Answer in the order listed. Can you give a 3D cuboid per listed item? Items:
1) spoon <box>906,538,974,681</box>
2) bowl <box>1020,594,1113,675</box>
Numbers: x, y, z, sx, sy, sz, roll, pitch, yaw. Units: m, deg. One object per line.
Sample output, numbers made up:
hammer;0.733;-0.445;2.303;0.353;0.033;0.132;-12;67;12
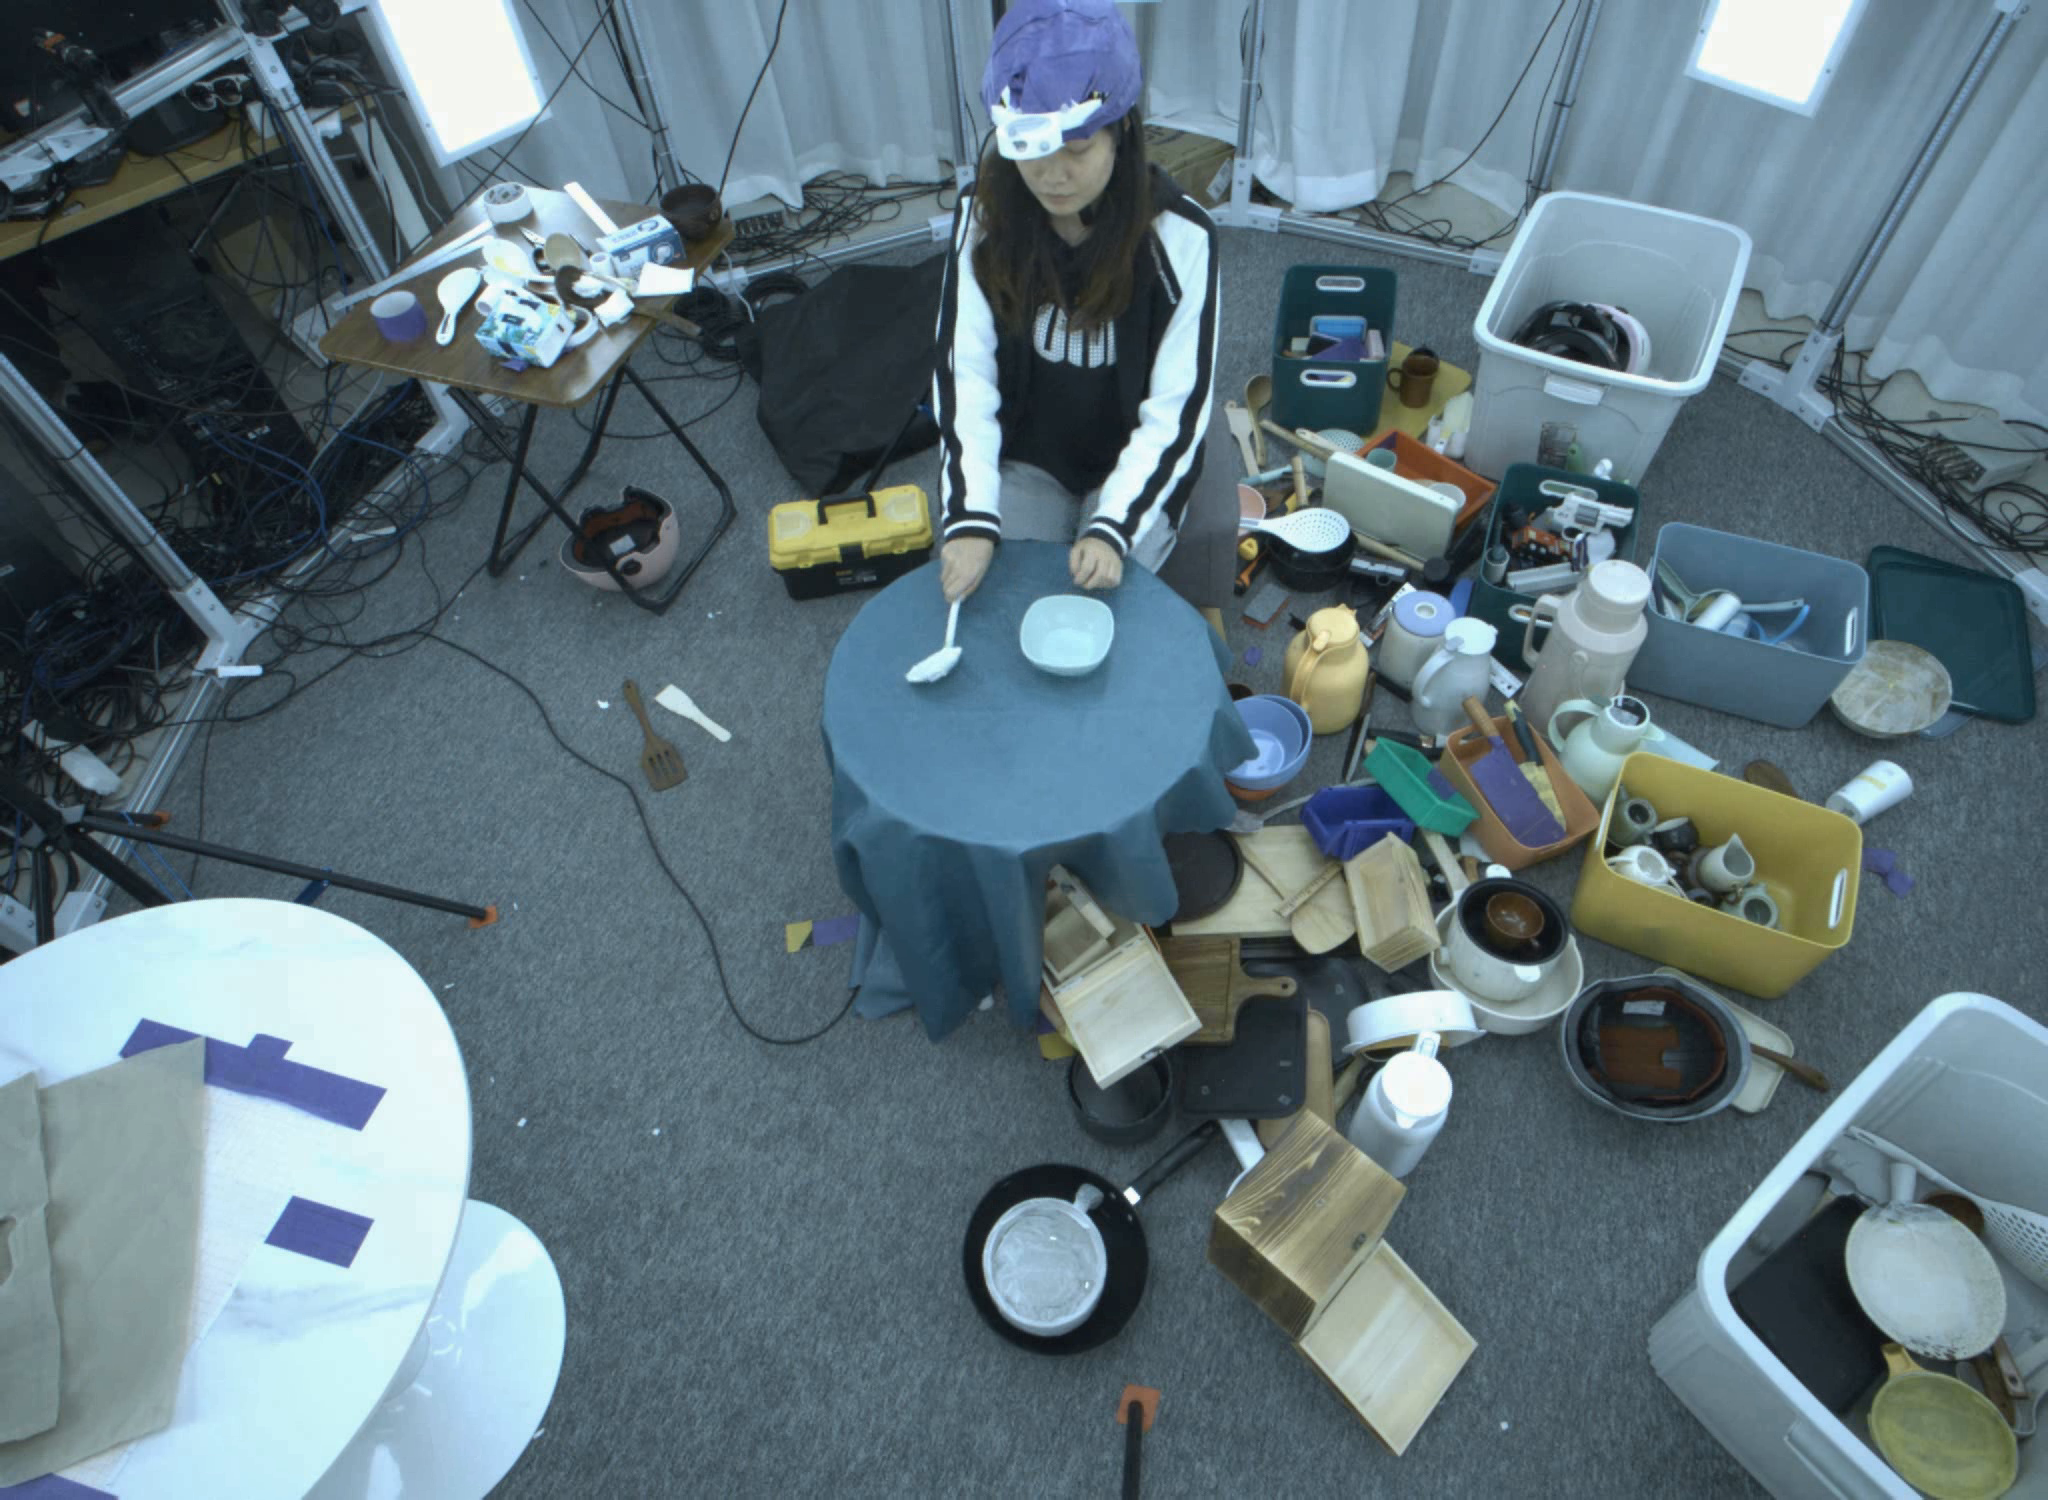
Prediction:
spoon;-0.117;-0.222;1.882;0.099;0.061;0.276;-4;65;31
bowl;0.065;-0.166;1.868;0.151;0.059;0.150;0;59;2
